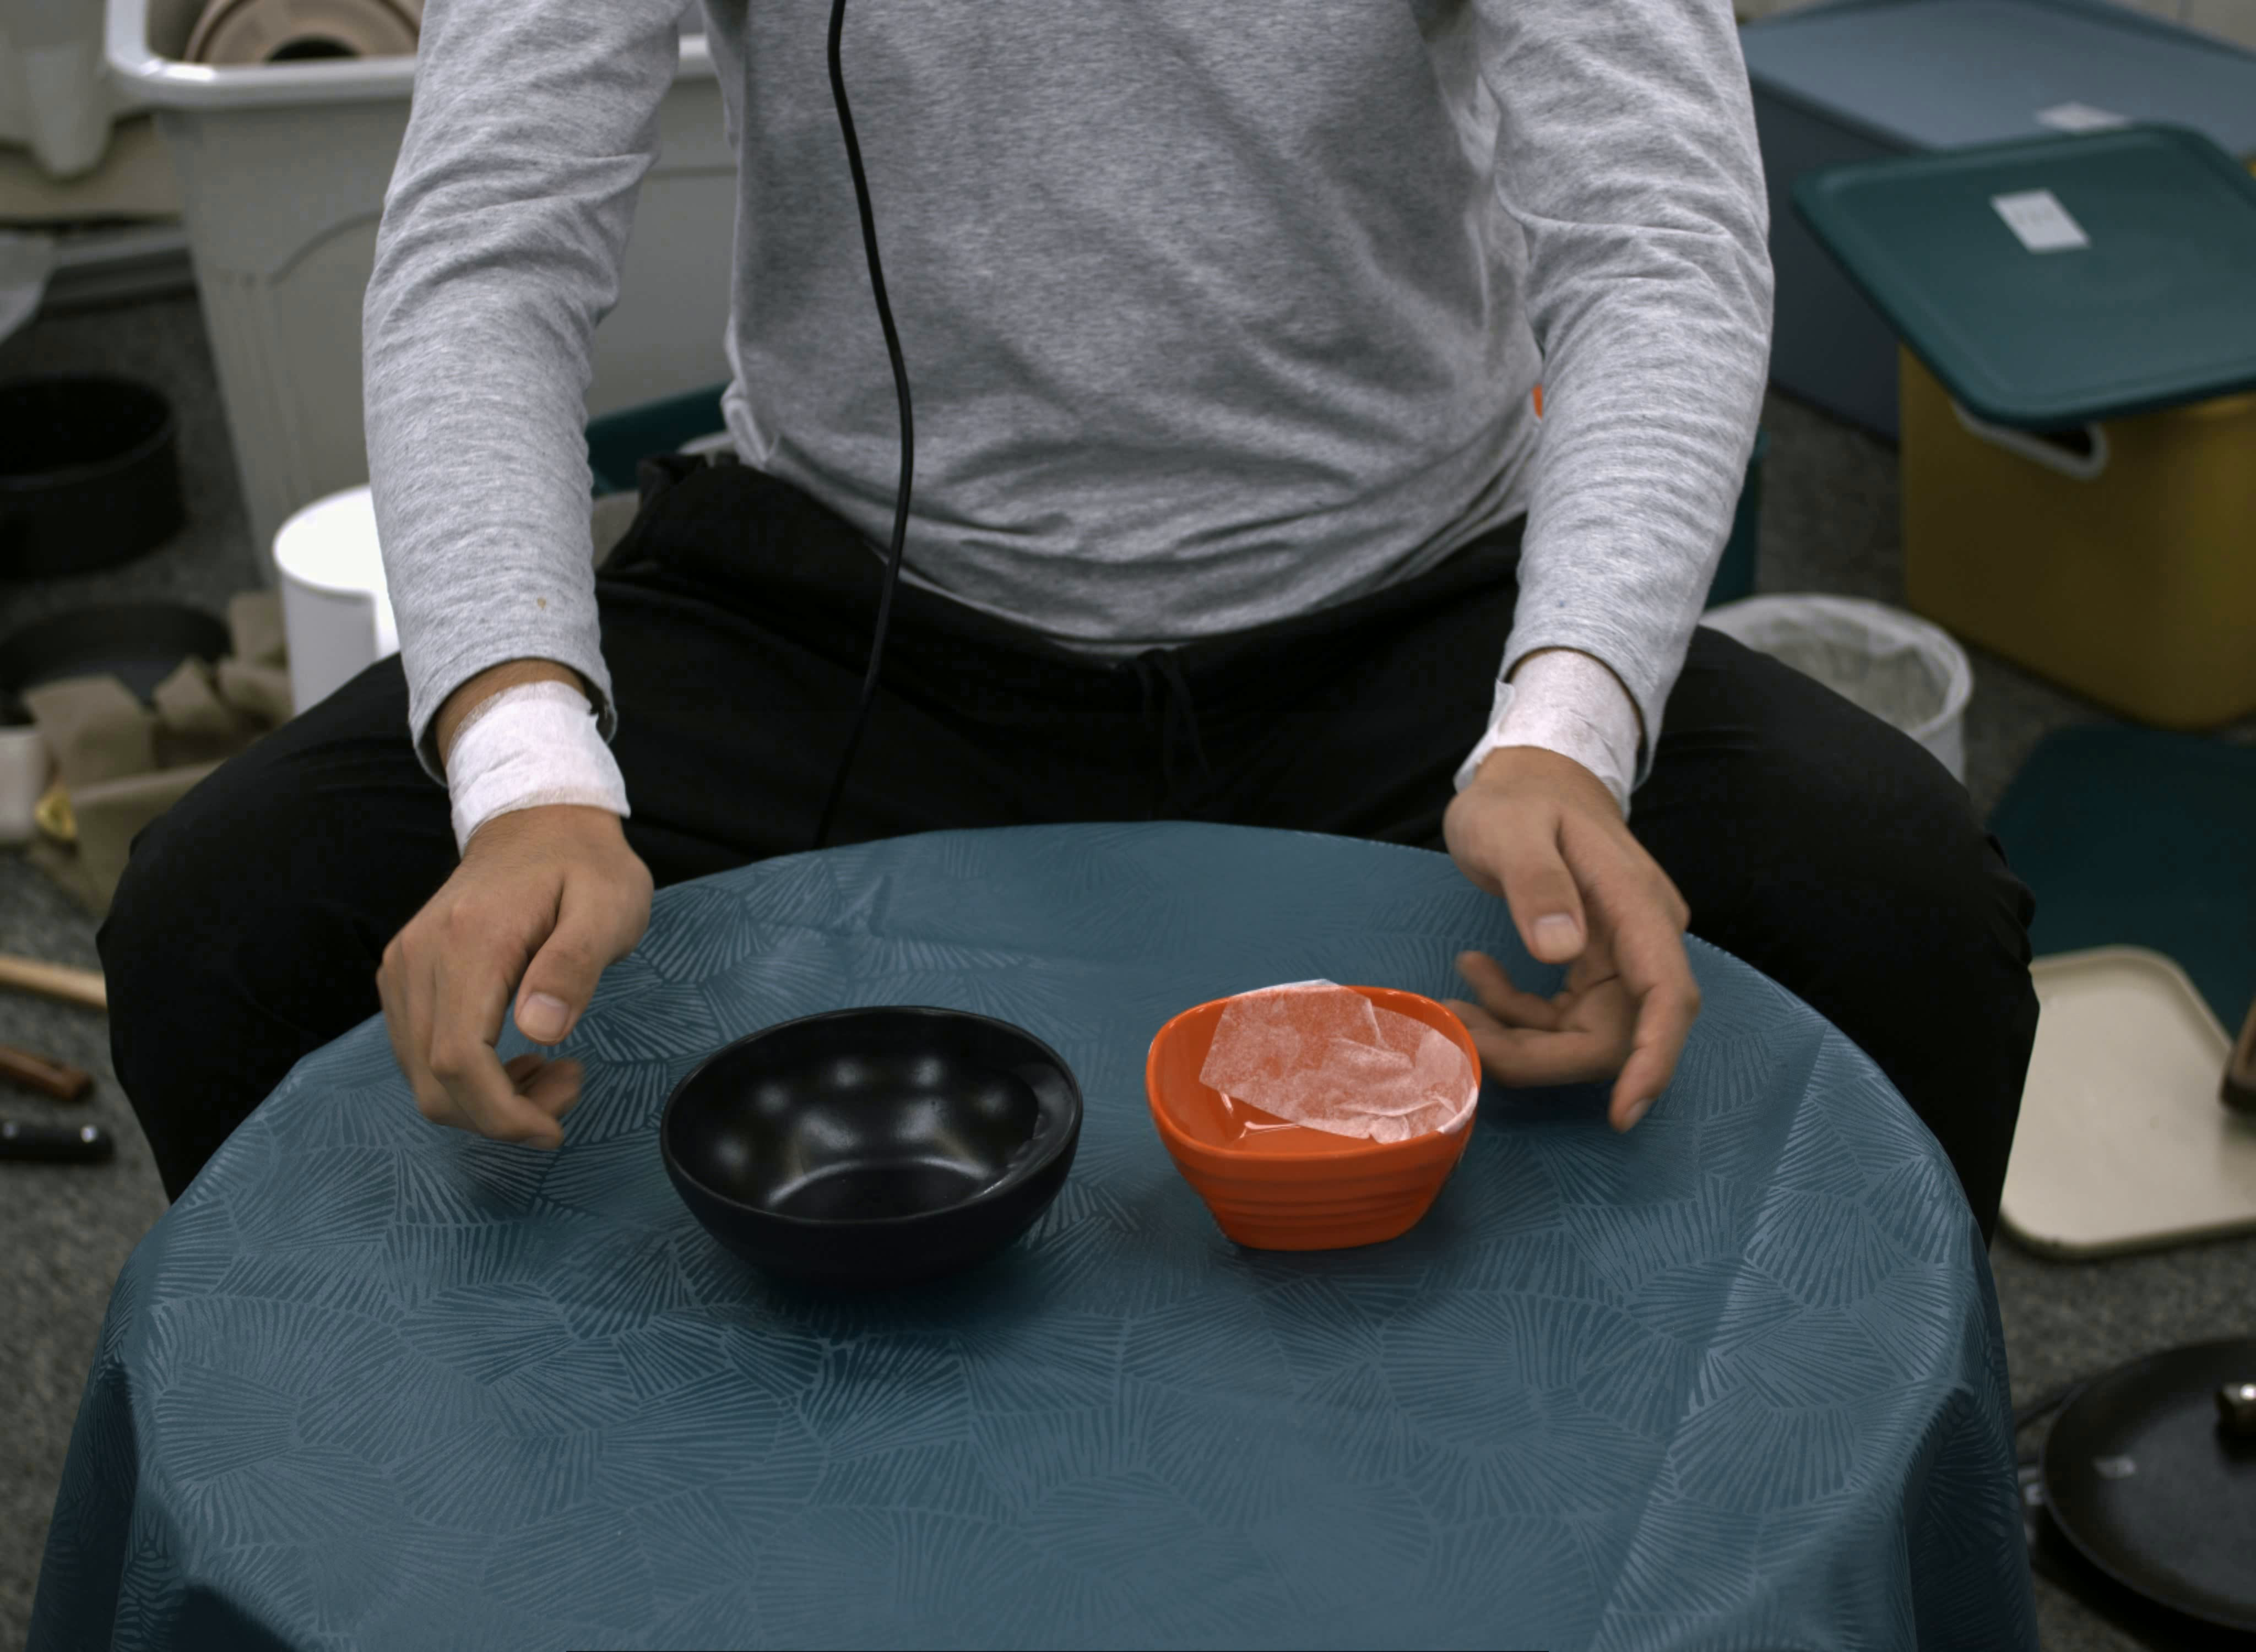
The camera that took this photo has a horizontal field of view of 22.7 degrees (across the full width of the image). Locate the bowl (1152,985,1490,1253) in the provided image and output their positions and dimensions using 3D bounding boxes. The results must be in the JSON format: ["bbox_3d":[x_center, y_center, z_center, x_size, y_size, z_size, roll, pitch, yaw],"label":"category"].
[{"bbox_3d":[0.064,0.100,1.840,0.118,0.051,0.121,-3,27,2],"label":"bowl"}]

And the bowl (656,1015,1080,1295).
[{"bbox_3d":[-0.083,0.115,1.833,0.139,0.049,0.142,-2,25,1],"label":"bowl"}]
